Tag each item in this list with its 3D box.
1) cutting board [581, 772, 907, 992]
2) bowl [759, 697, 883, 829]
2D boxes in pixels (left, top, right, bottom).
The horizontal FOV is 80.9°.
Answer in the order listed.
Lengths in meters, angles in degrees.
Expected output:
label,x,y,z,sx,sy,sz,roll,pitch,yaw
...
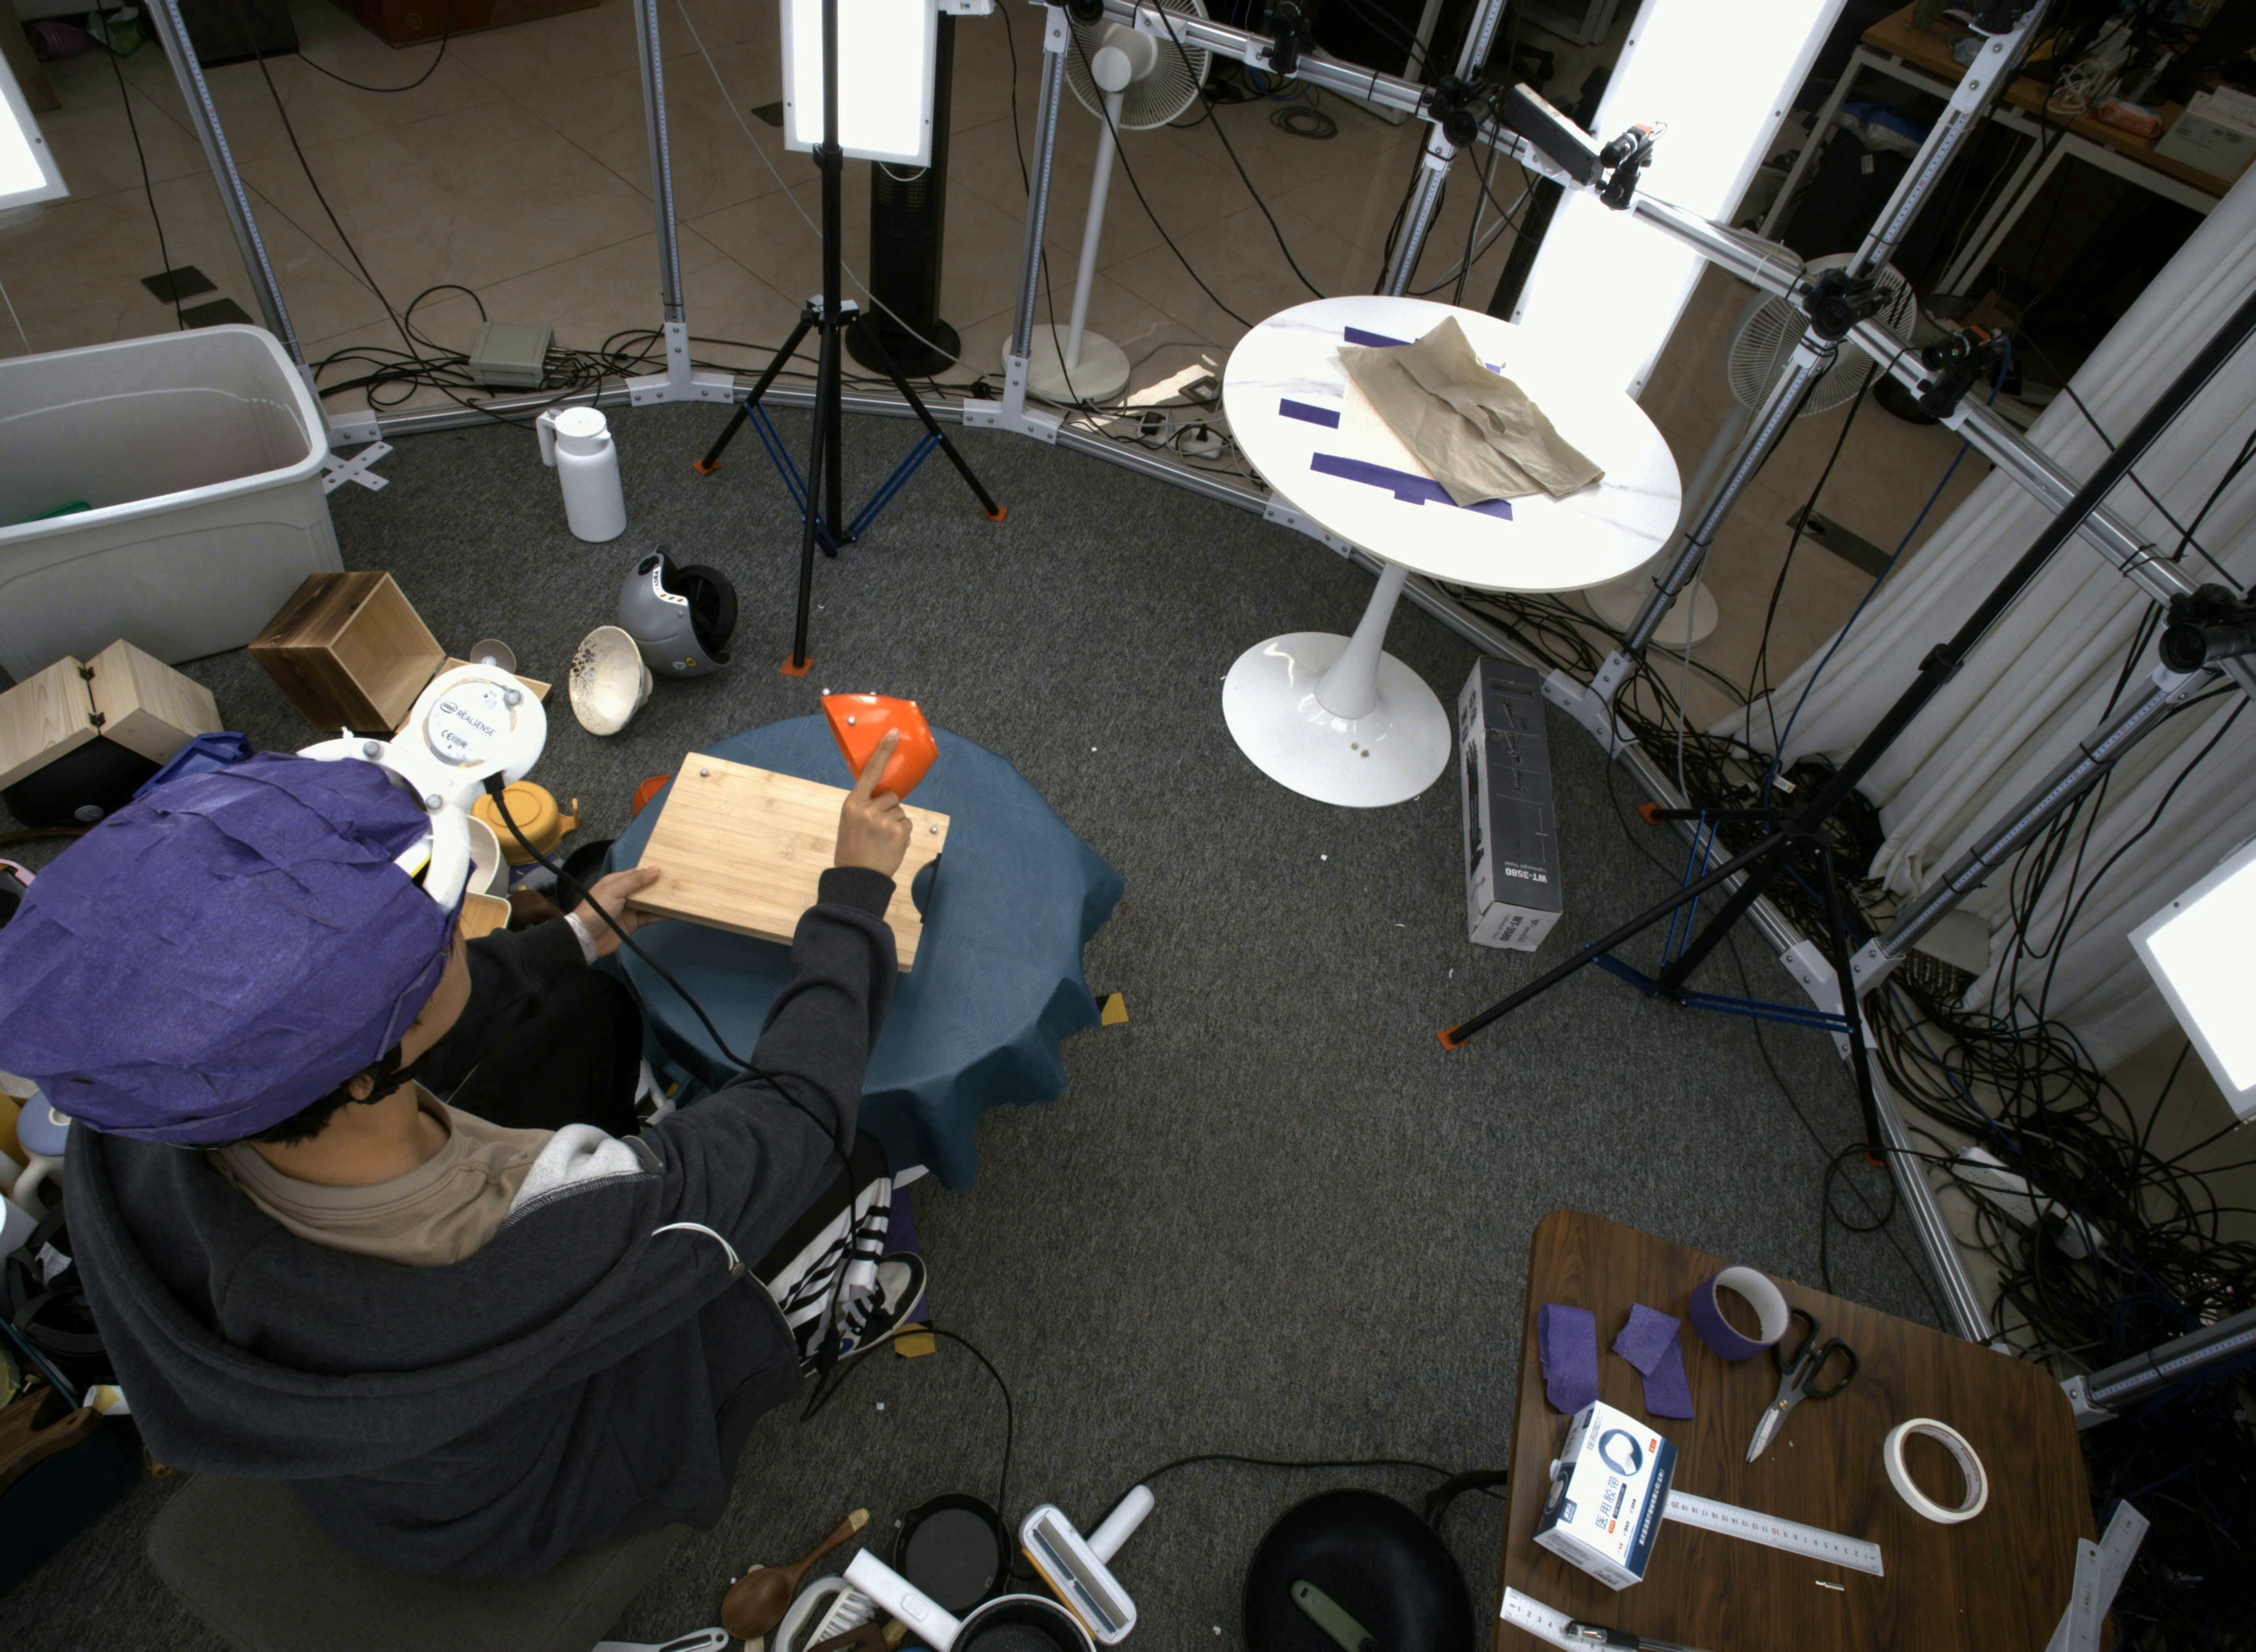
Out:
label,x,y,z,sx,sy,sz,roll,pitch,yaw
cutting board,-0.454,0.061,1.553,0.349,0.024,0.246,11,50,-12
bowl,-0.324,-0.082,1.388,0.104,0.153,0.144,-24,59,-5
